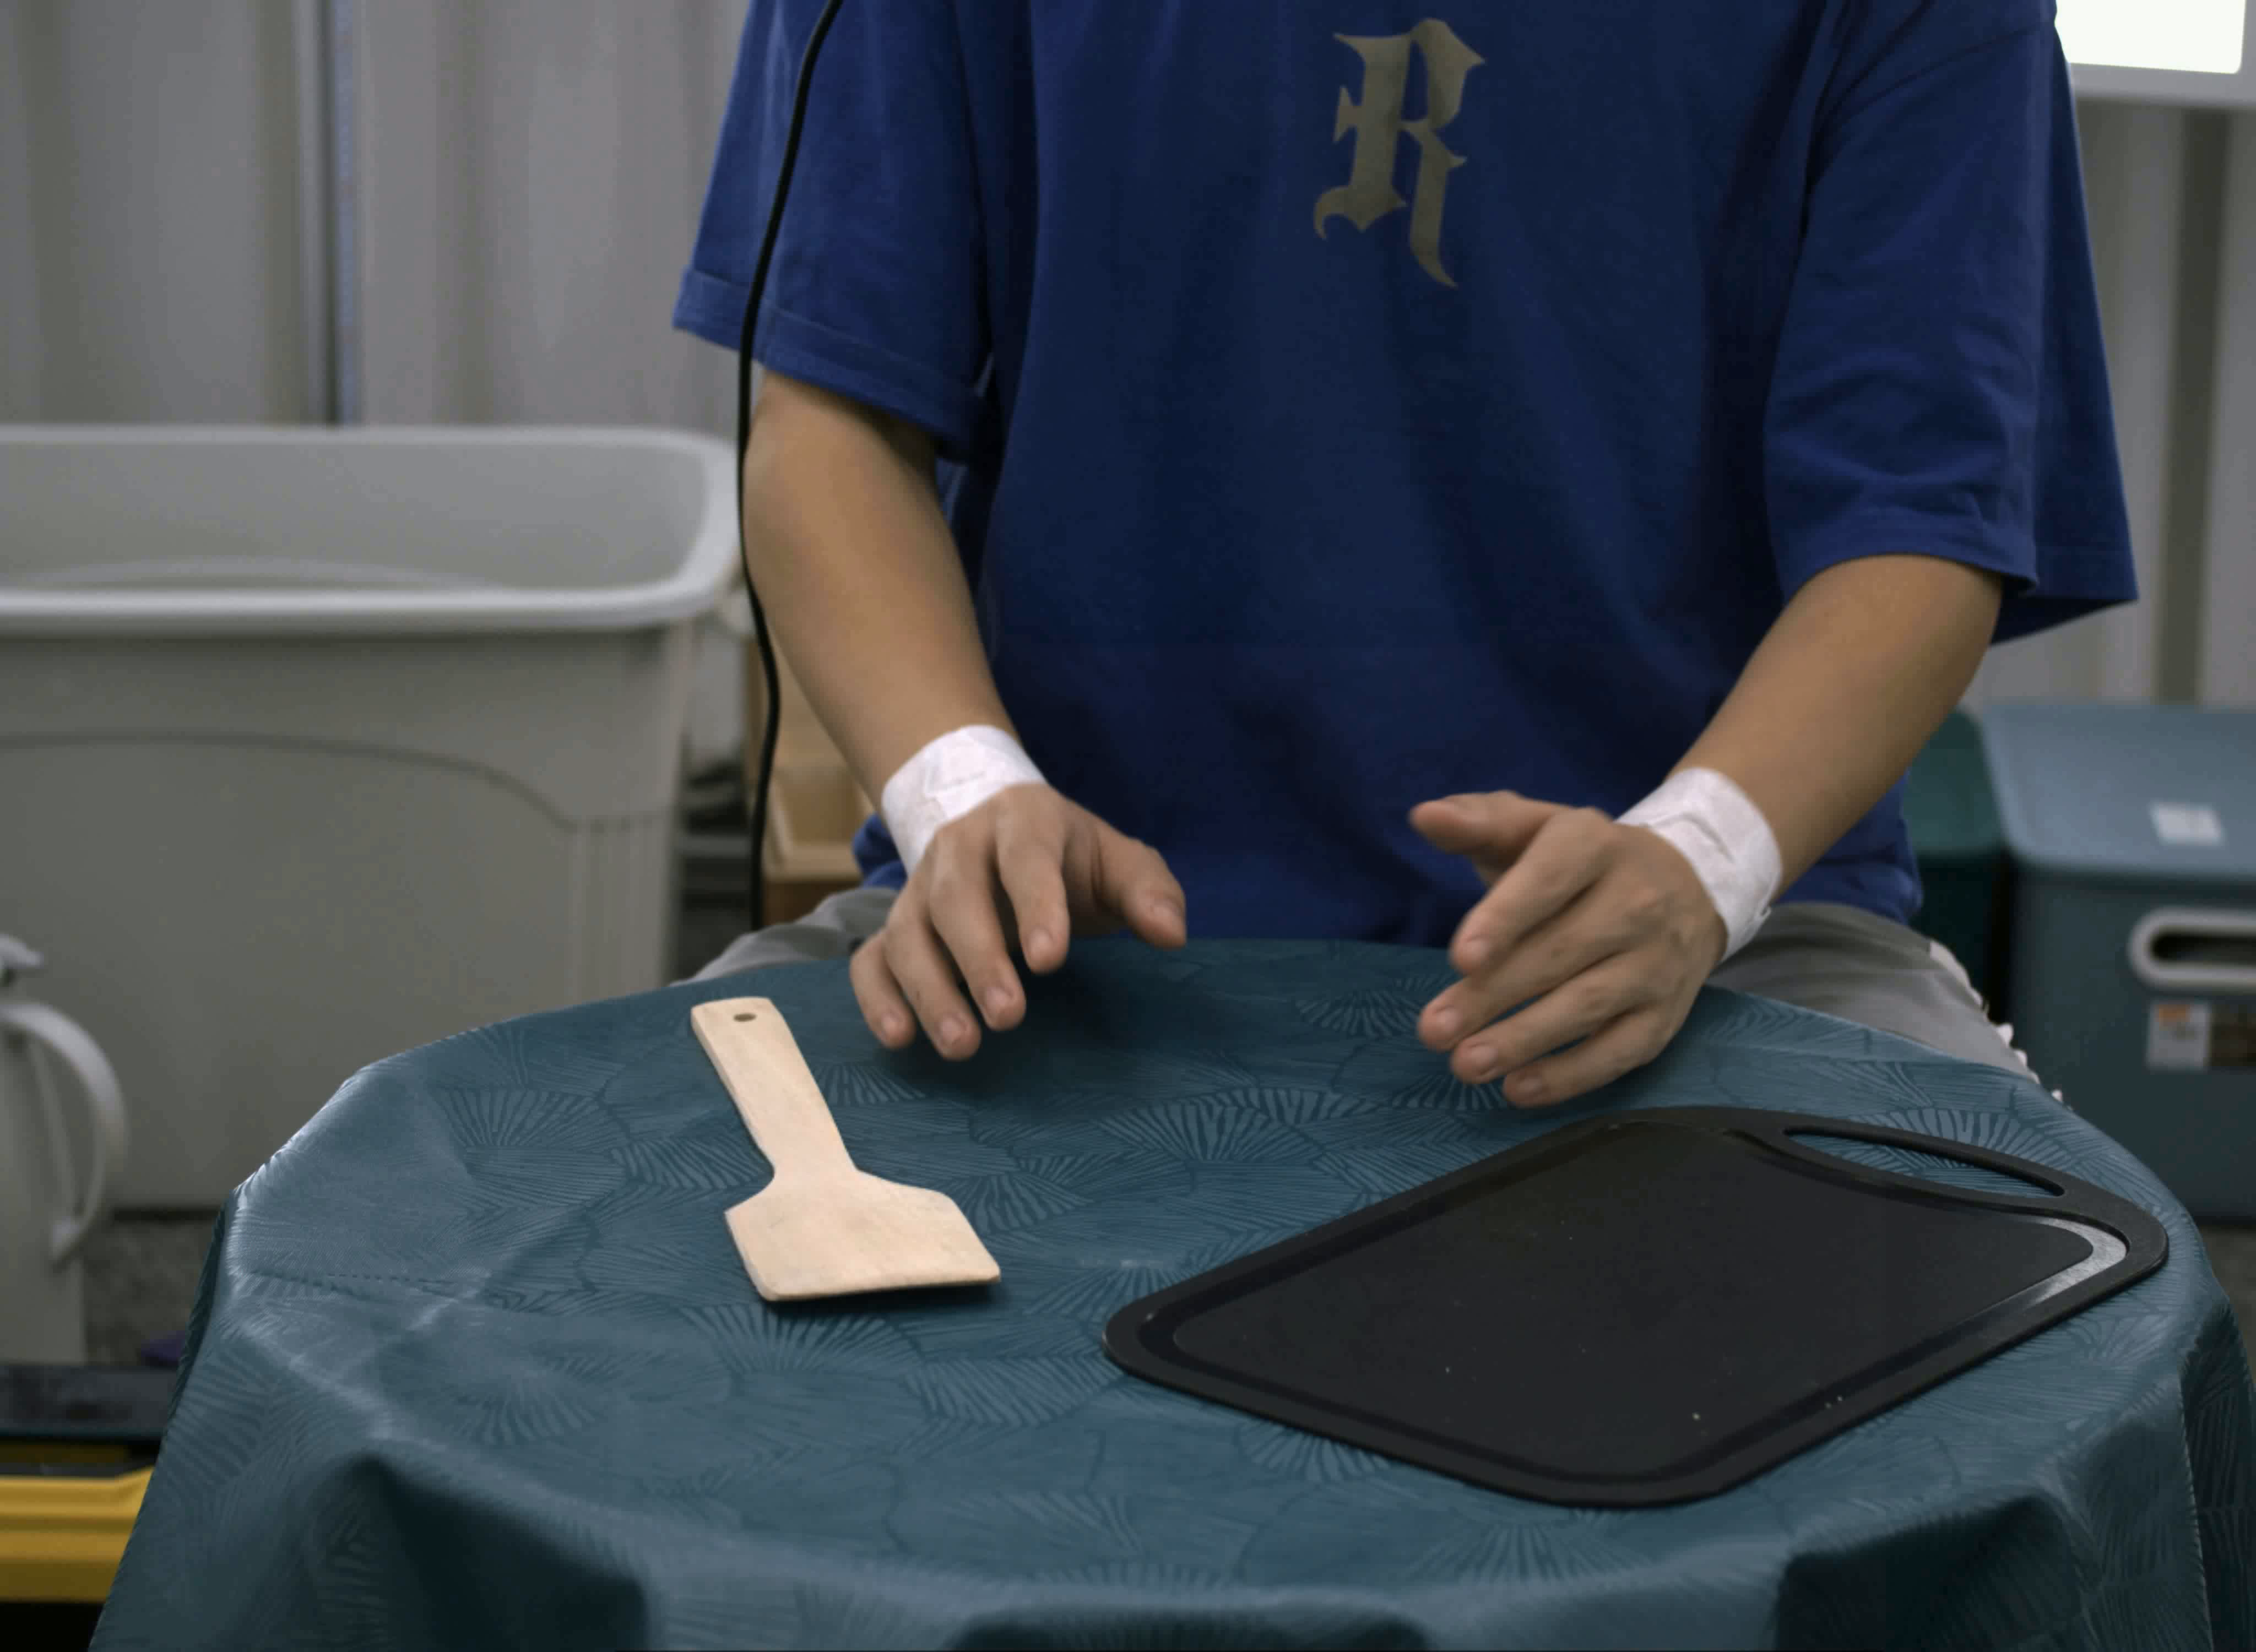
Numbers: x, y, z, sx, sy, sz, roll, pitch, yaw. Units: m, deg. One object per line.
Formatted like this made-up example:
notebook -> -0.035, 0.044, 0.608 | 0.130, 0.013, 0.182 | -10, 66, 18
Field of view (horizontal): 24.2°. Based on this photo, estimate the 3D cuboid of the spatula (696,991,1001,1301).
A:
spatula -> -0.103, 0.098, 1.654 | 0.072, 0.011, 0.290 | -4, 16, -13

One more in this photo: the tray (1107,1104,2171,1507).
tray -> 0.158, 0.131, 1.547 | 0.208, 0.010, 0.327 | 14, 20, 39
